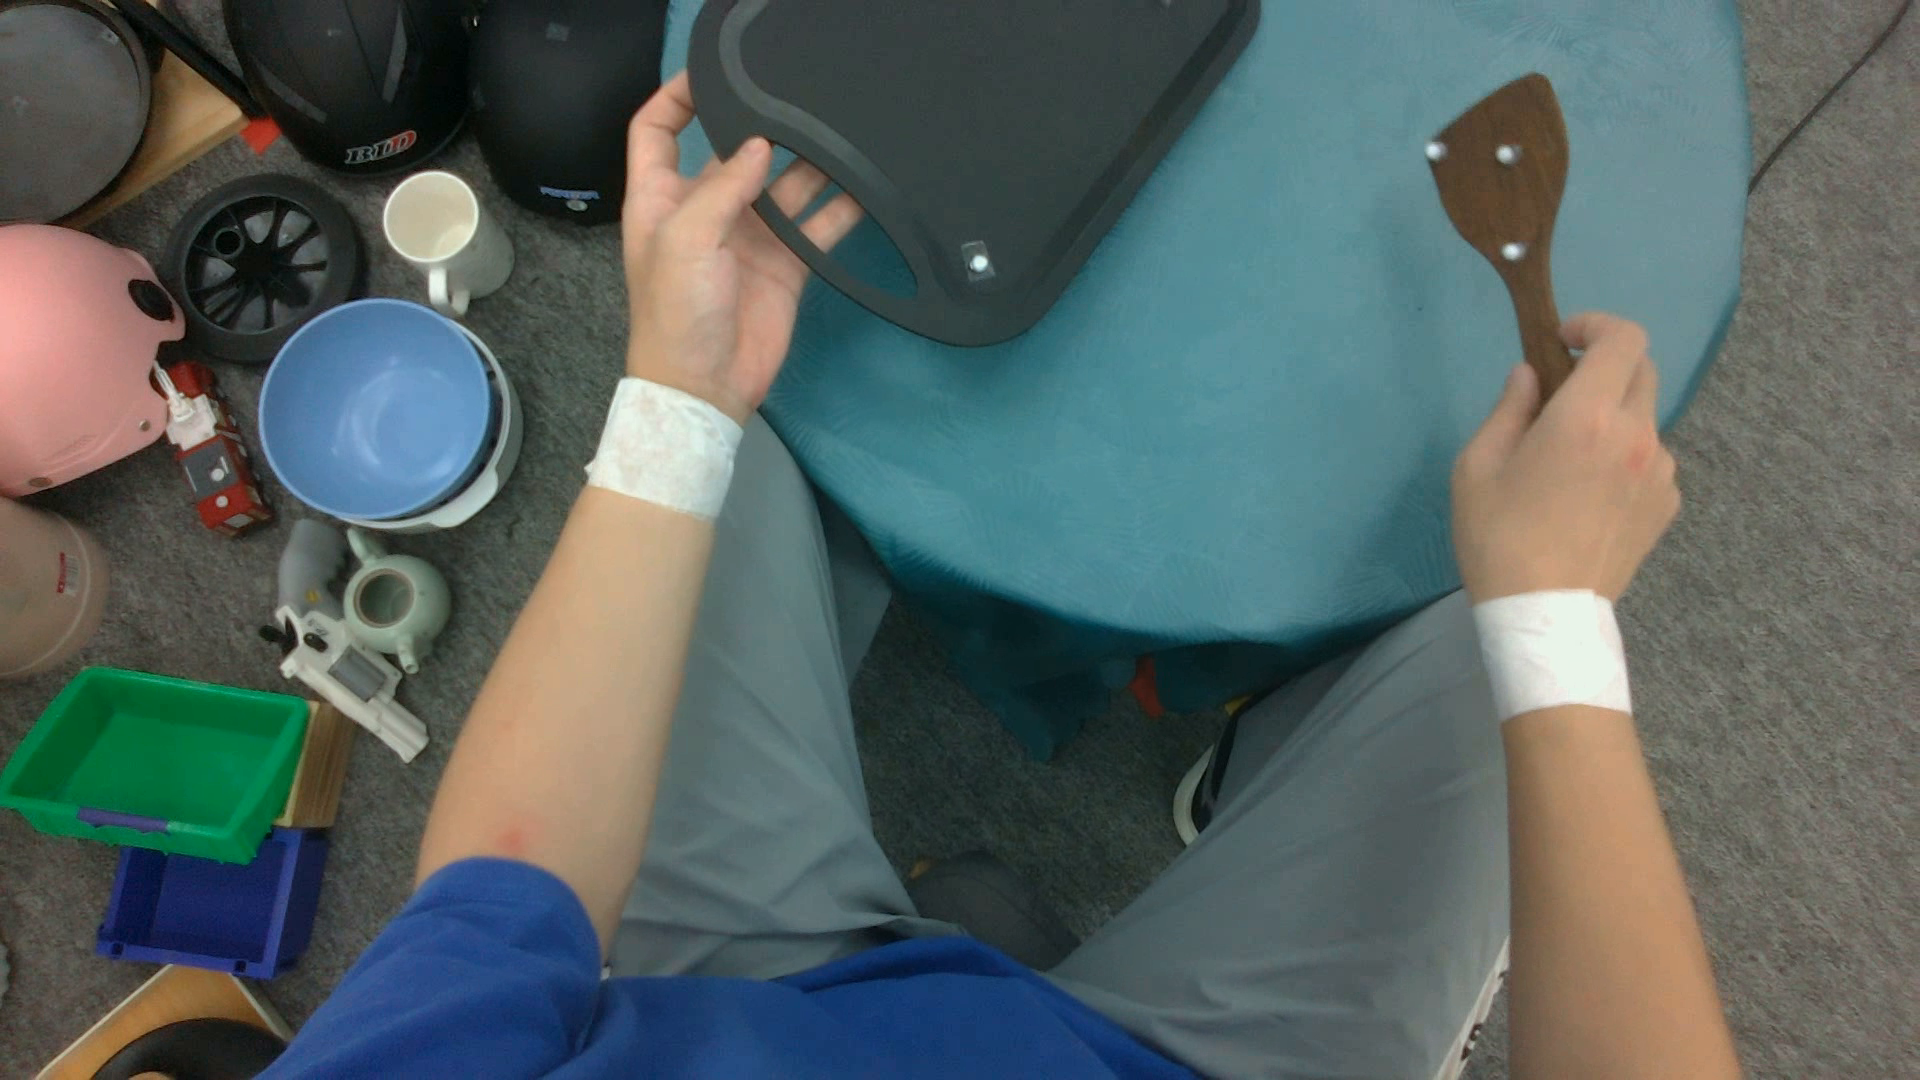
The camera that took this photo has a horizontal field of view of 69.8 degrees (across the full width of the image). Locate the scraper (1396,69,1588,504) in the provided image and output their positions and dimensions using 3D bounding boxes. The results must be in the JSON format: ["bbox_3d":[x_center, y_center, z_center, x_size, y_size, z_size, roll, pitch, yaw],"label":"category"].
[{"bbox_3d":[0.264,-0.120,0.665,0.011,0.075,0.211,-1,75,-33],"label":"scraper"}]

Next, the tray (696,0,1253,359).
[{"bbox_3d":[0.019,-0.245,0.700,0.211,0.010,0.326,42,67,-13],"label":"tray"}]
